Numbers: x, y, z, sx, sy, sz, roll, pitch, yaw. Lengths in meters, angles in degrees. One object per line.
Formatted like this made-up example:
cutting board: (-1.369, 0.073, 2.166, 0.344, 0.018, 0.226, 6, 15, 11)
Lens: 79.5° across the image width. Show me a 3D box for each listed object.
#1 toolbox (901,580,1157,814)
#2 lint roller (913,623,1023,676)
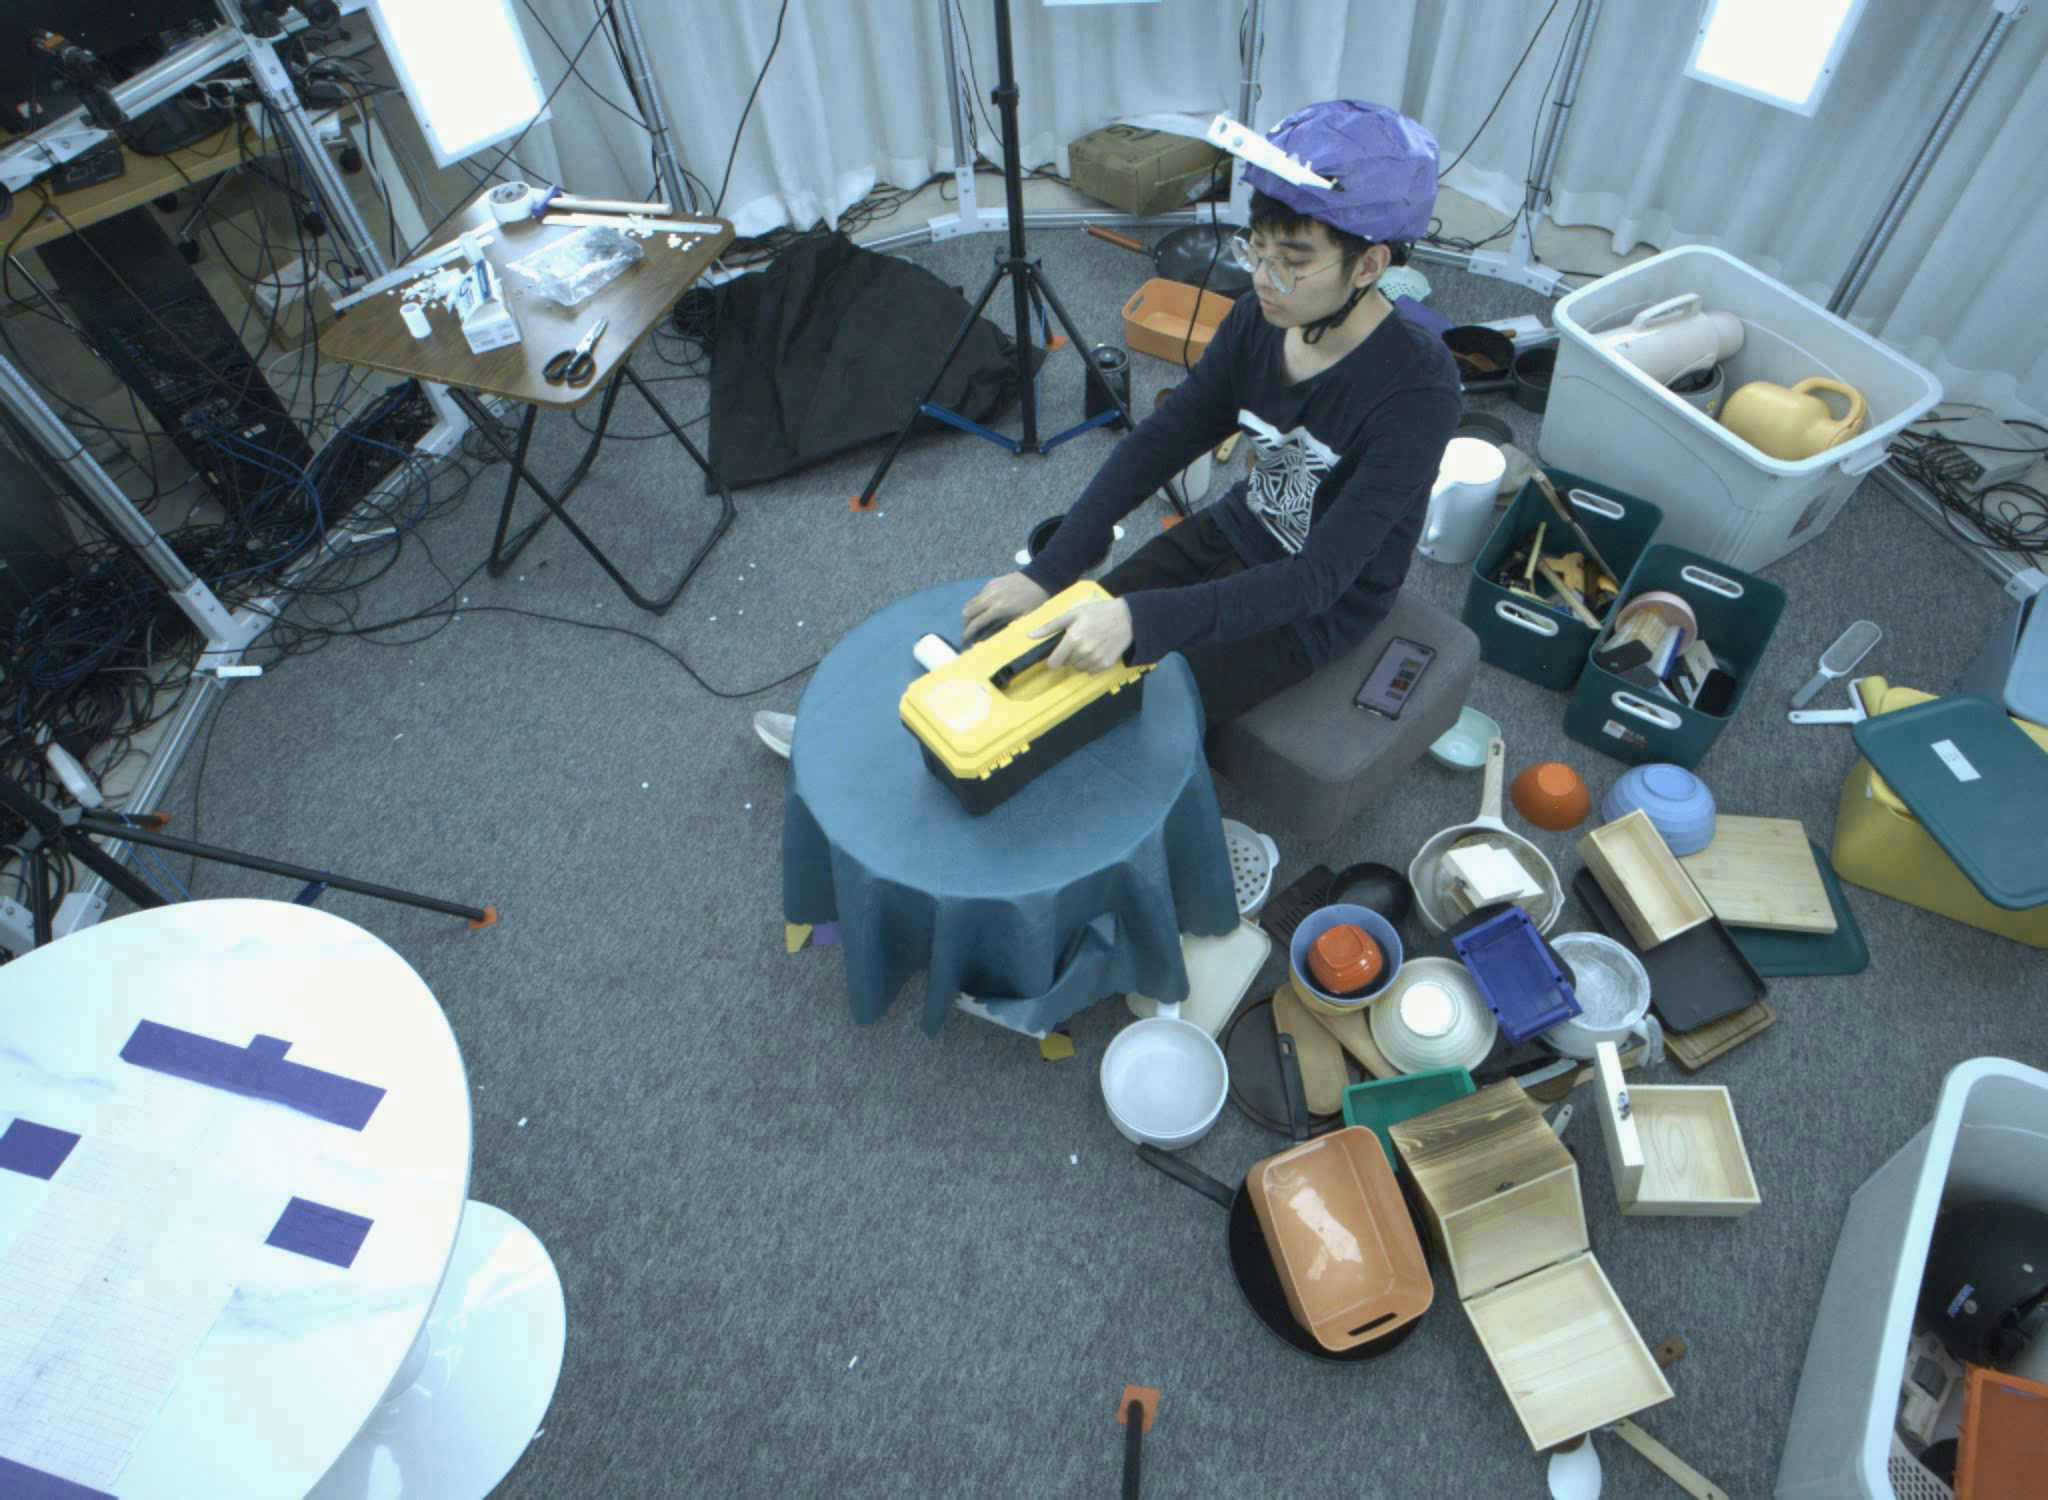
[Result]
toolbox: (0.011, -0.075, 1.741, 0.354, 0.174, 0.178, -33, 60, -21)
lint roller: (-0.068, -0.164, 1.889, 0.182, 0.049, 0.132, -34, 59, -25)
